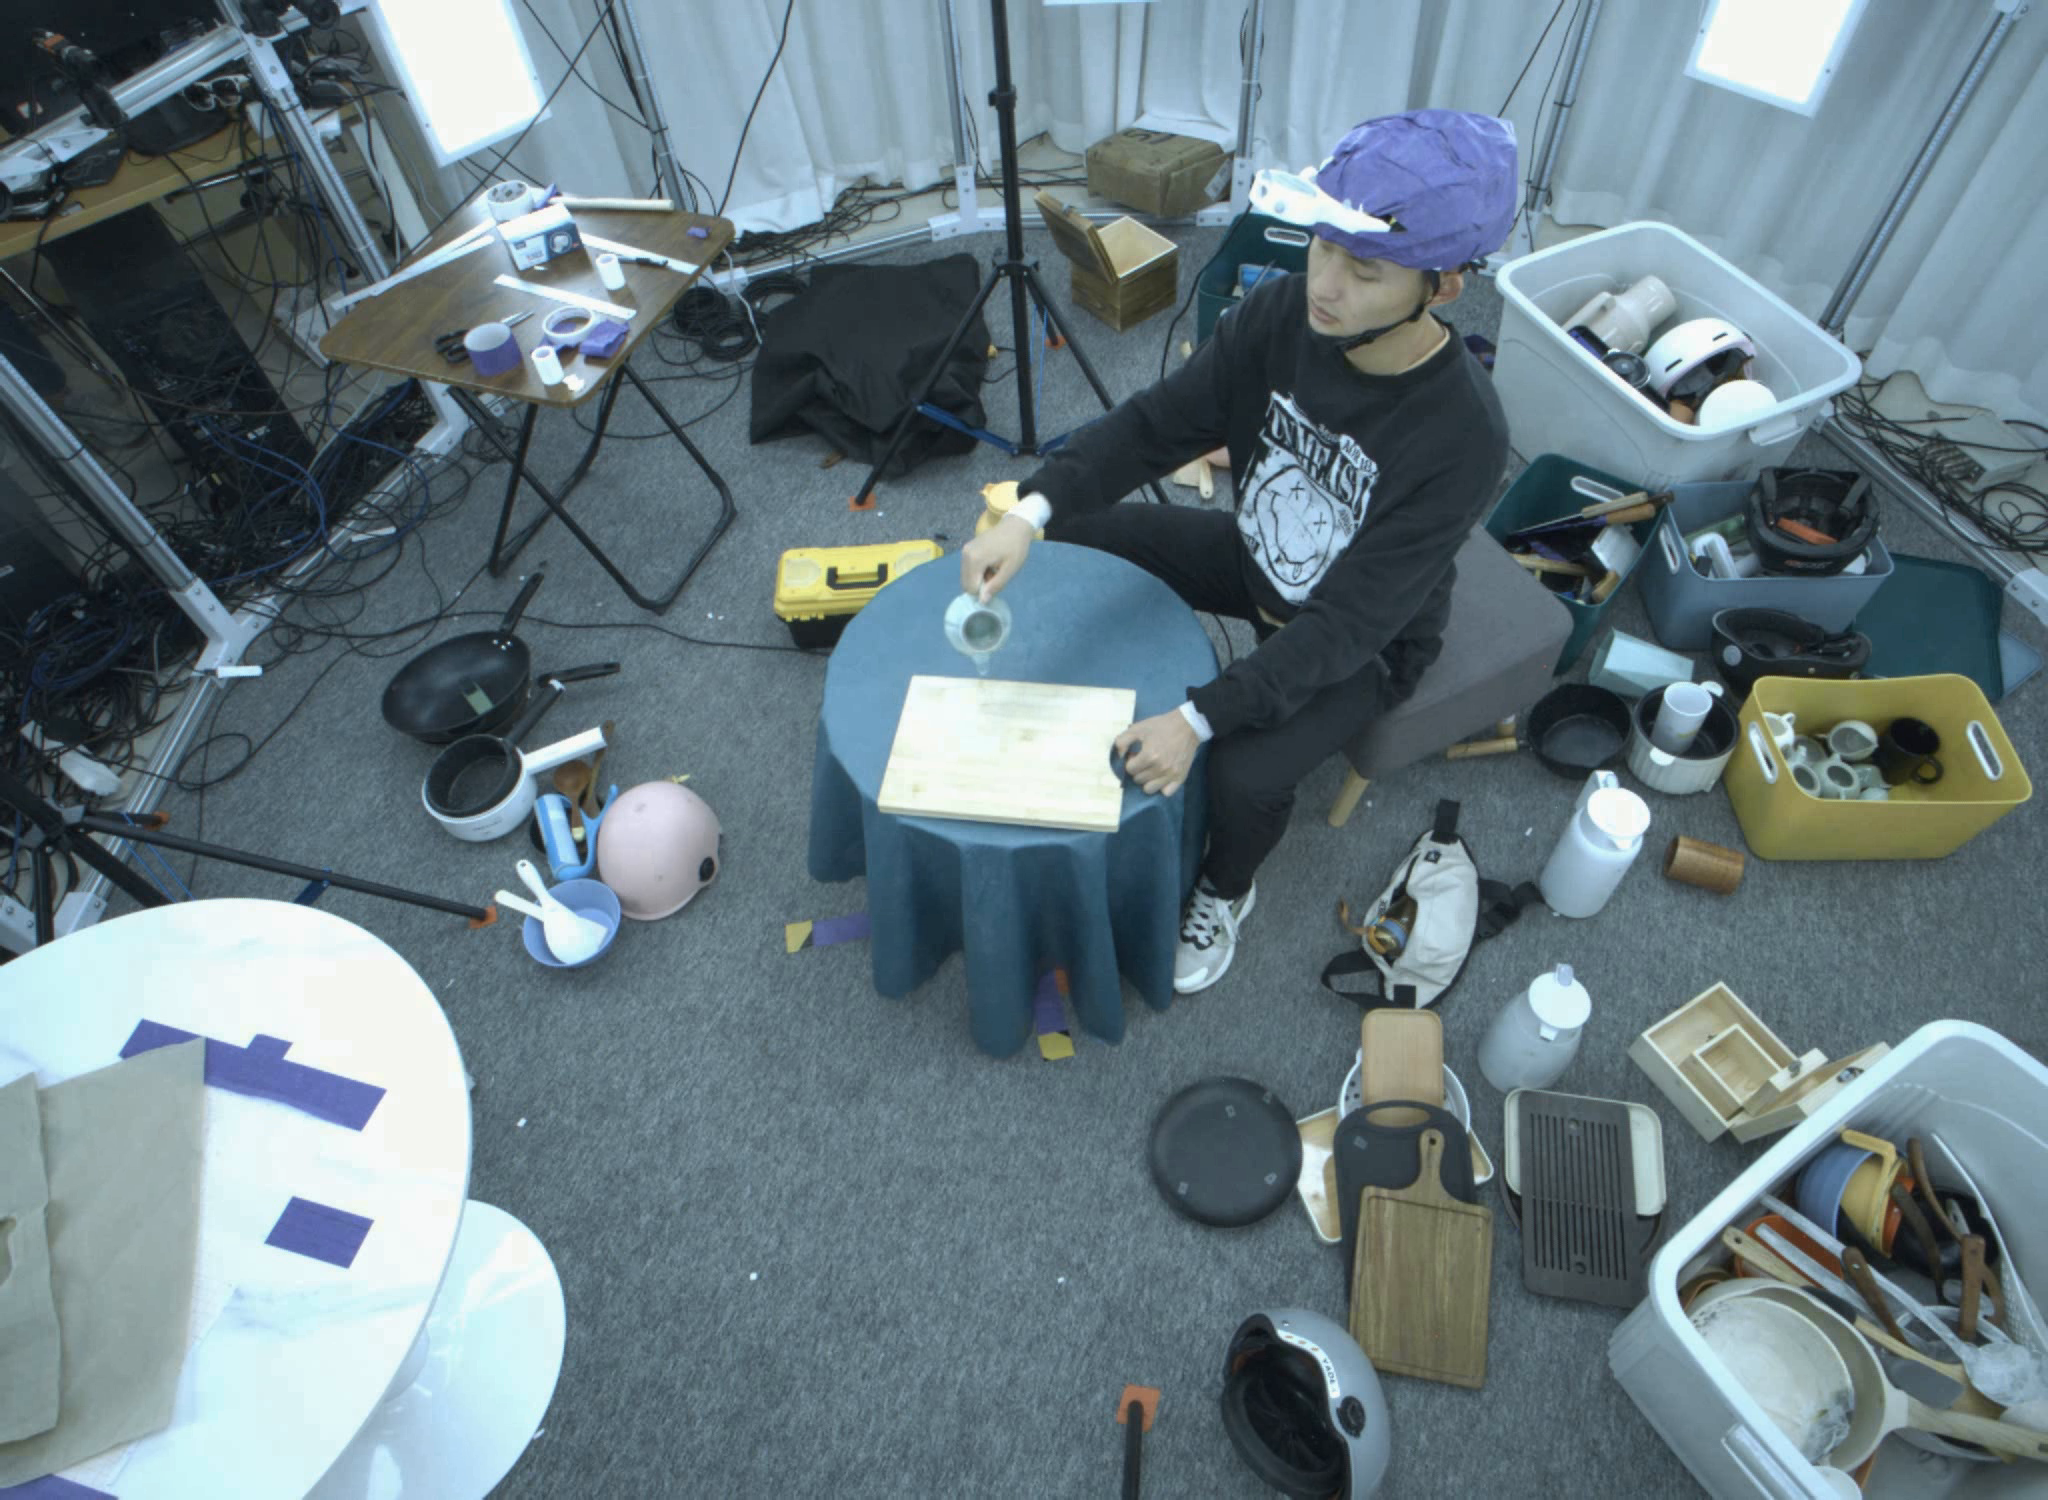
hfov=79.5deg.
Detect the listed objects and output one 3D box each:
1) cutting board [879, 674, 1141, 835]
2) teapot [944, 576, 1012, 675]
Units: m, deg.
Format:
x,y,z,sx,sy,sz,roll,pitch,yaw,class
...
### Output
x,y,z,sx,sy,sz,roll,pitch,yaw,class
-0.015,0.001,1.767,0.347,0.024,0.249,4,55,7,cutting board
-0.064,-0.179,1.719,0.097,0.138,0.060,-6,24,-9,teapot
